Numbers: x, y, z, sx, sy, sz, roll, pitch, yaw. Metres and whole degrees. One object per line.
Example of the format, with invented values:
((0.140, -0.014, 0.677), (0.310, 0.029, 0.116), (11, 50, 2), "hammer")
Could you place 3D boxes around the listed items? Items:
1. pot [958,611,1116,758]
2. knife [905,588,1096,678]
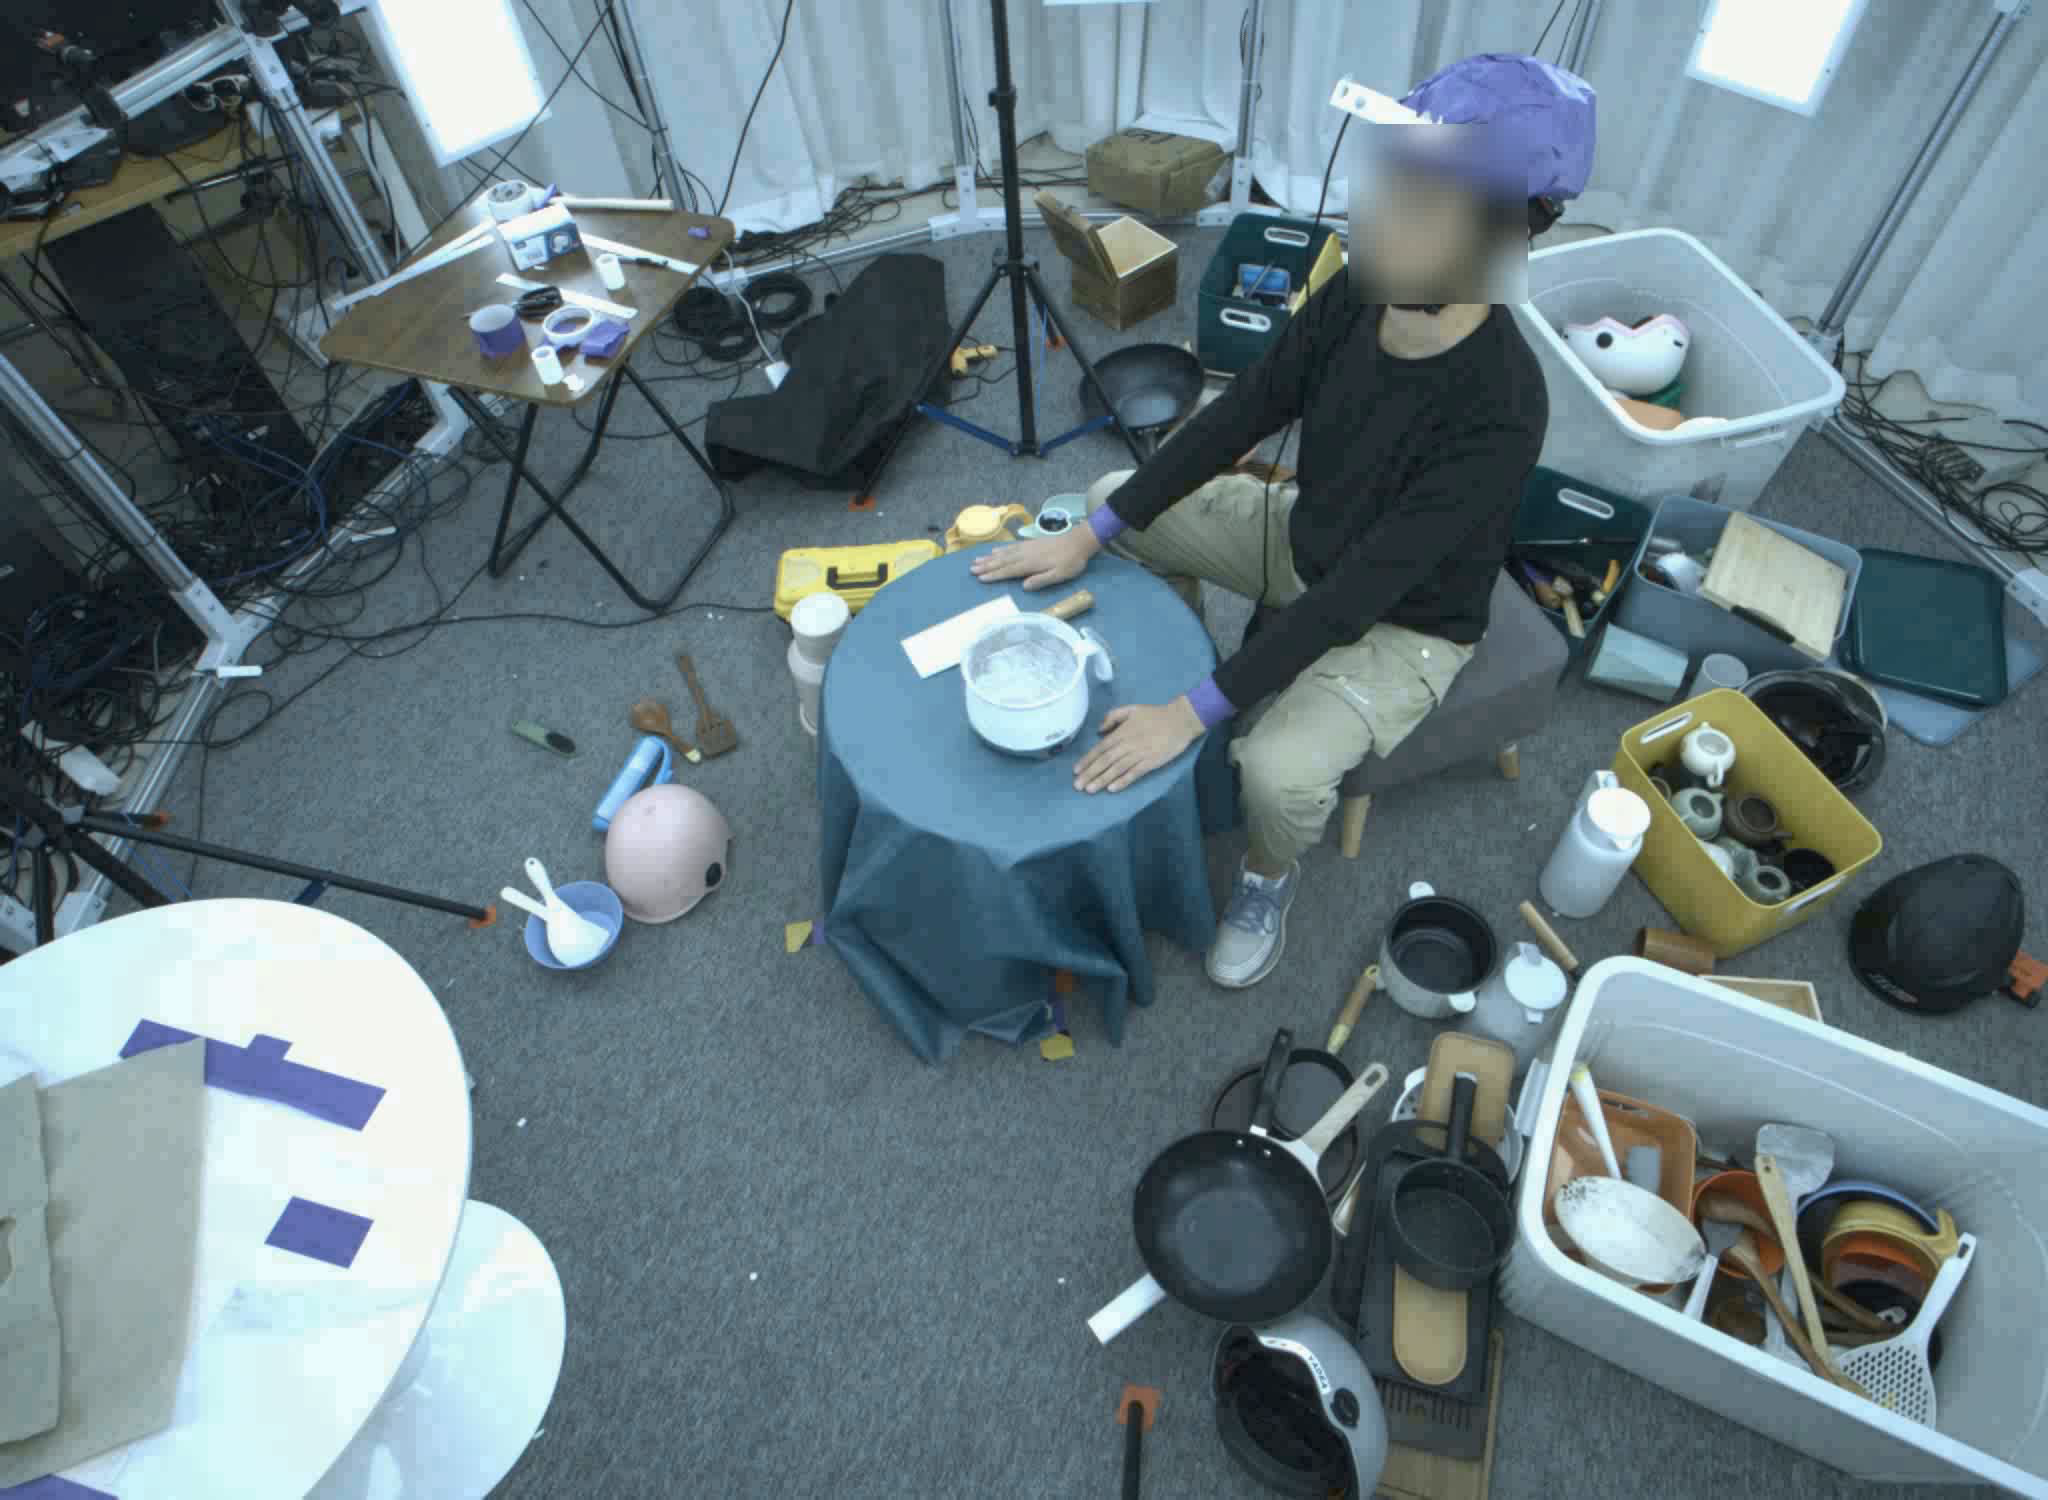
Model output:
((0.025, -0.103, 1.769), (0.235, 0.138, 0.175), (-26, 58, -14), "pot")
((-0.040, -0.199, 1.919), (0.308, 0.021, 0.091), (-24, 57, -13), "knife")
